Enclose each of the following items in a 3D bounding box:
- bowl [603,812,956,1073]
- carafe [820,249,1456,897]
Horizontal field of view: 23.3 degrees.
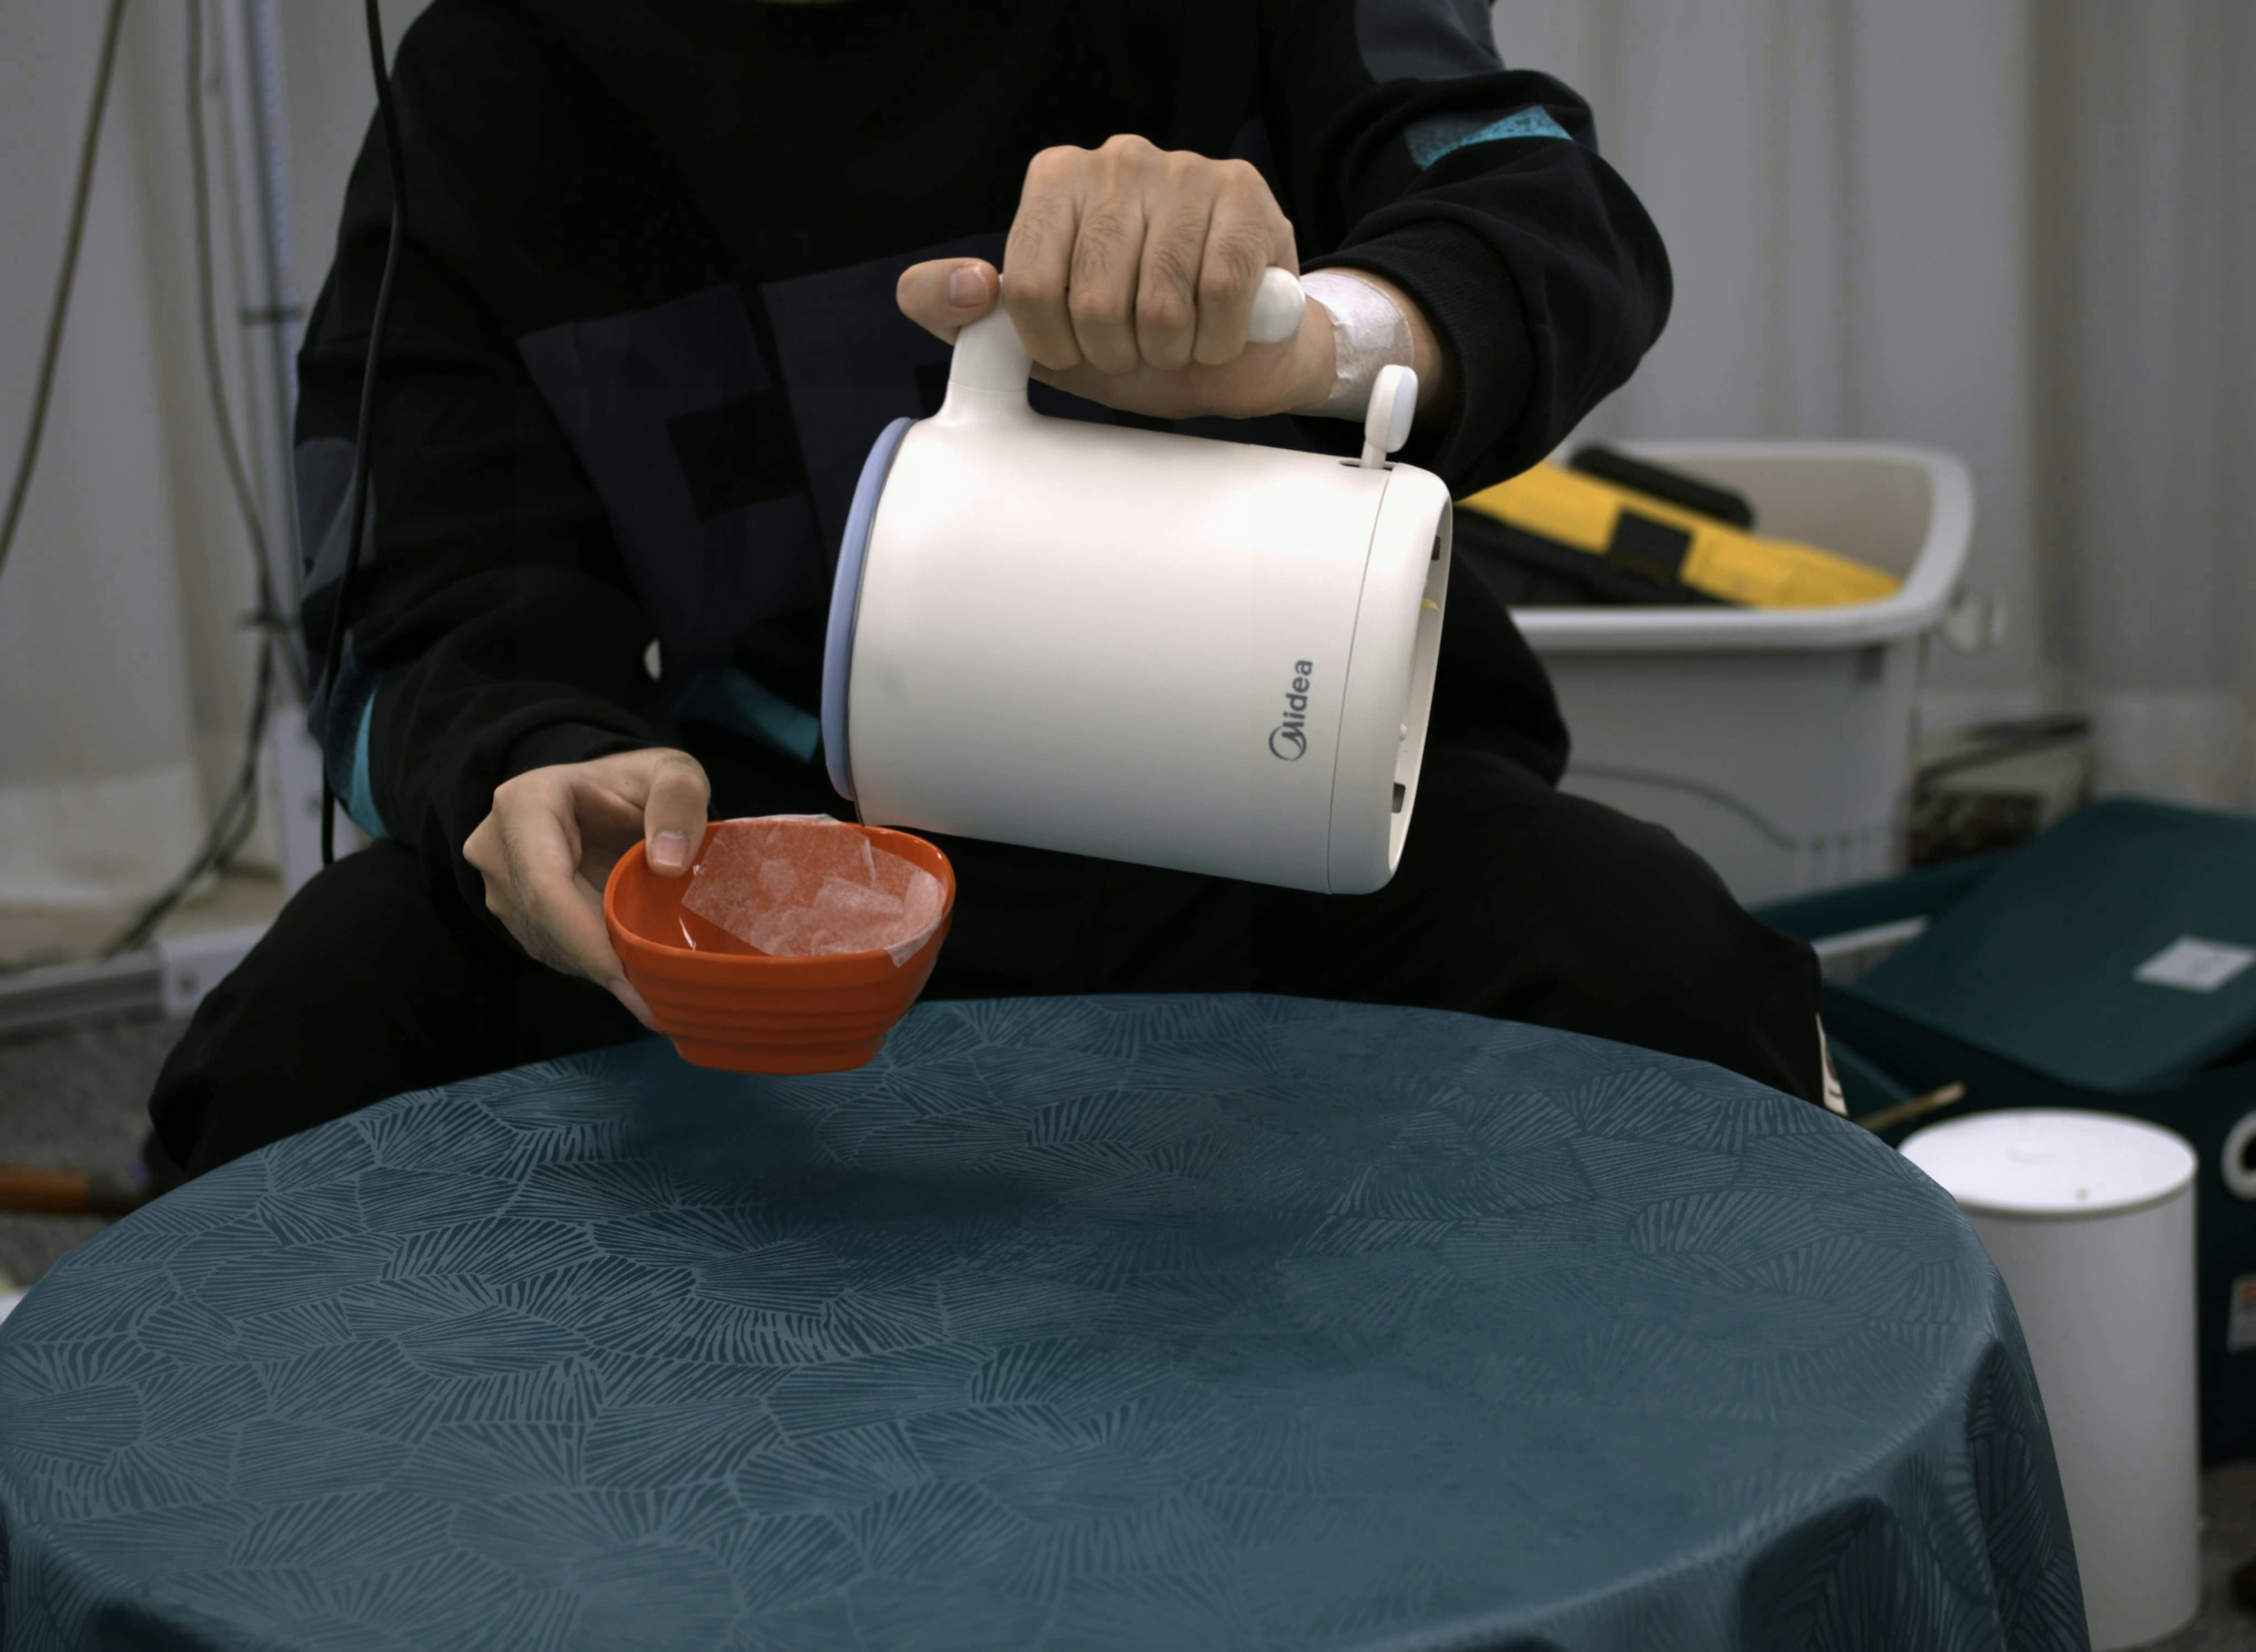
[{"bbox_3d":[-0.108,0.040,1.720,0.118,0.051,0.120,-1,24,0],"label":"bowl"},{"bbox_3d":[0.008,-0.079,1.653,0.182,0.191,0.132,11,10,6],"label":"carafe"}]
